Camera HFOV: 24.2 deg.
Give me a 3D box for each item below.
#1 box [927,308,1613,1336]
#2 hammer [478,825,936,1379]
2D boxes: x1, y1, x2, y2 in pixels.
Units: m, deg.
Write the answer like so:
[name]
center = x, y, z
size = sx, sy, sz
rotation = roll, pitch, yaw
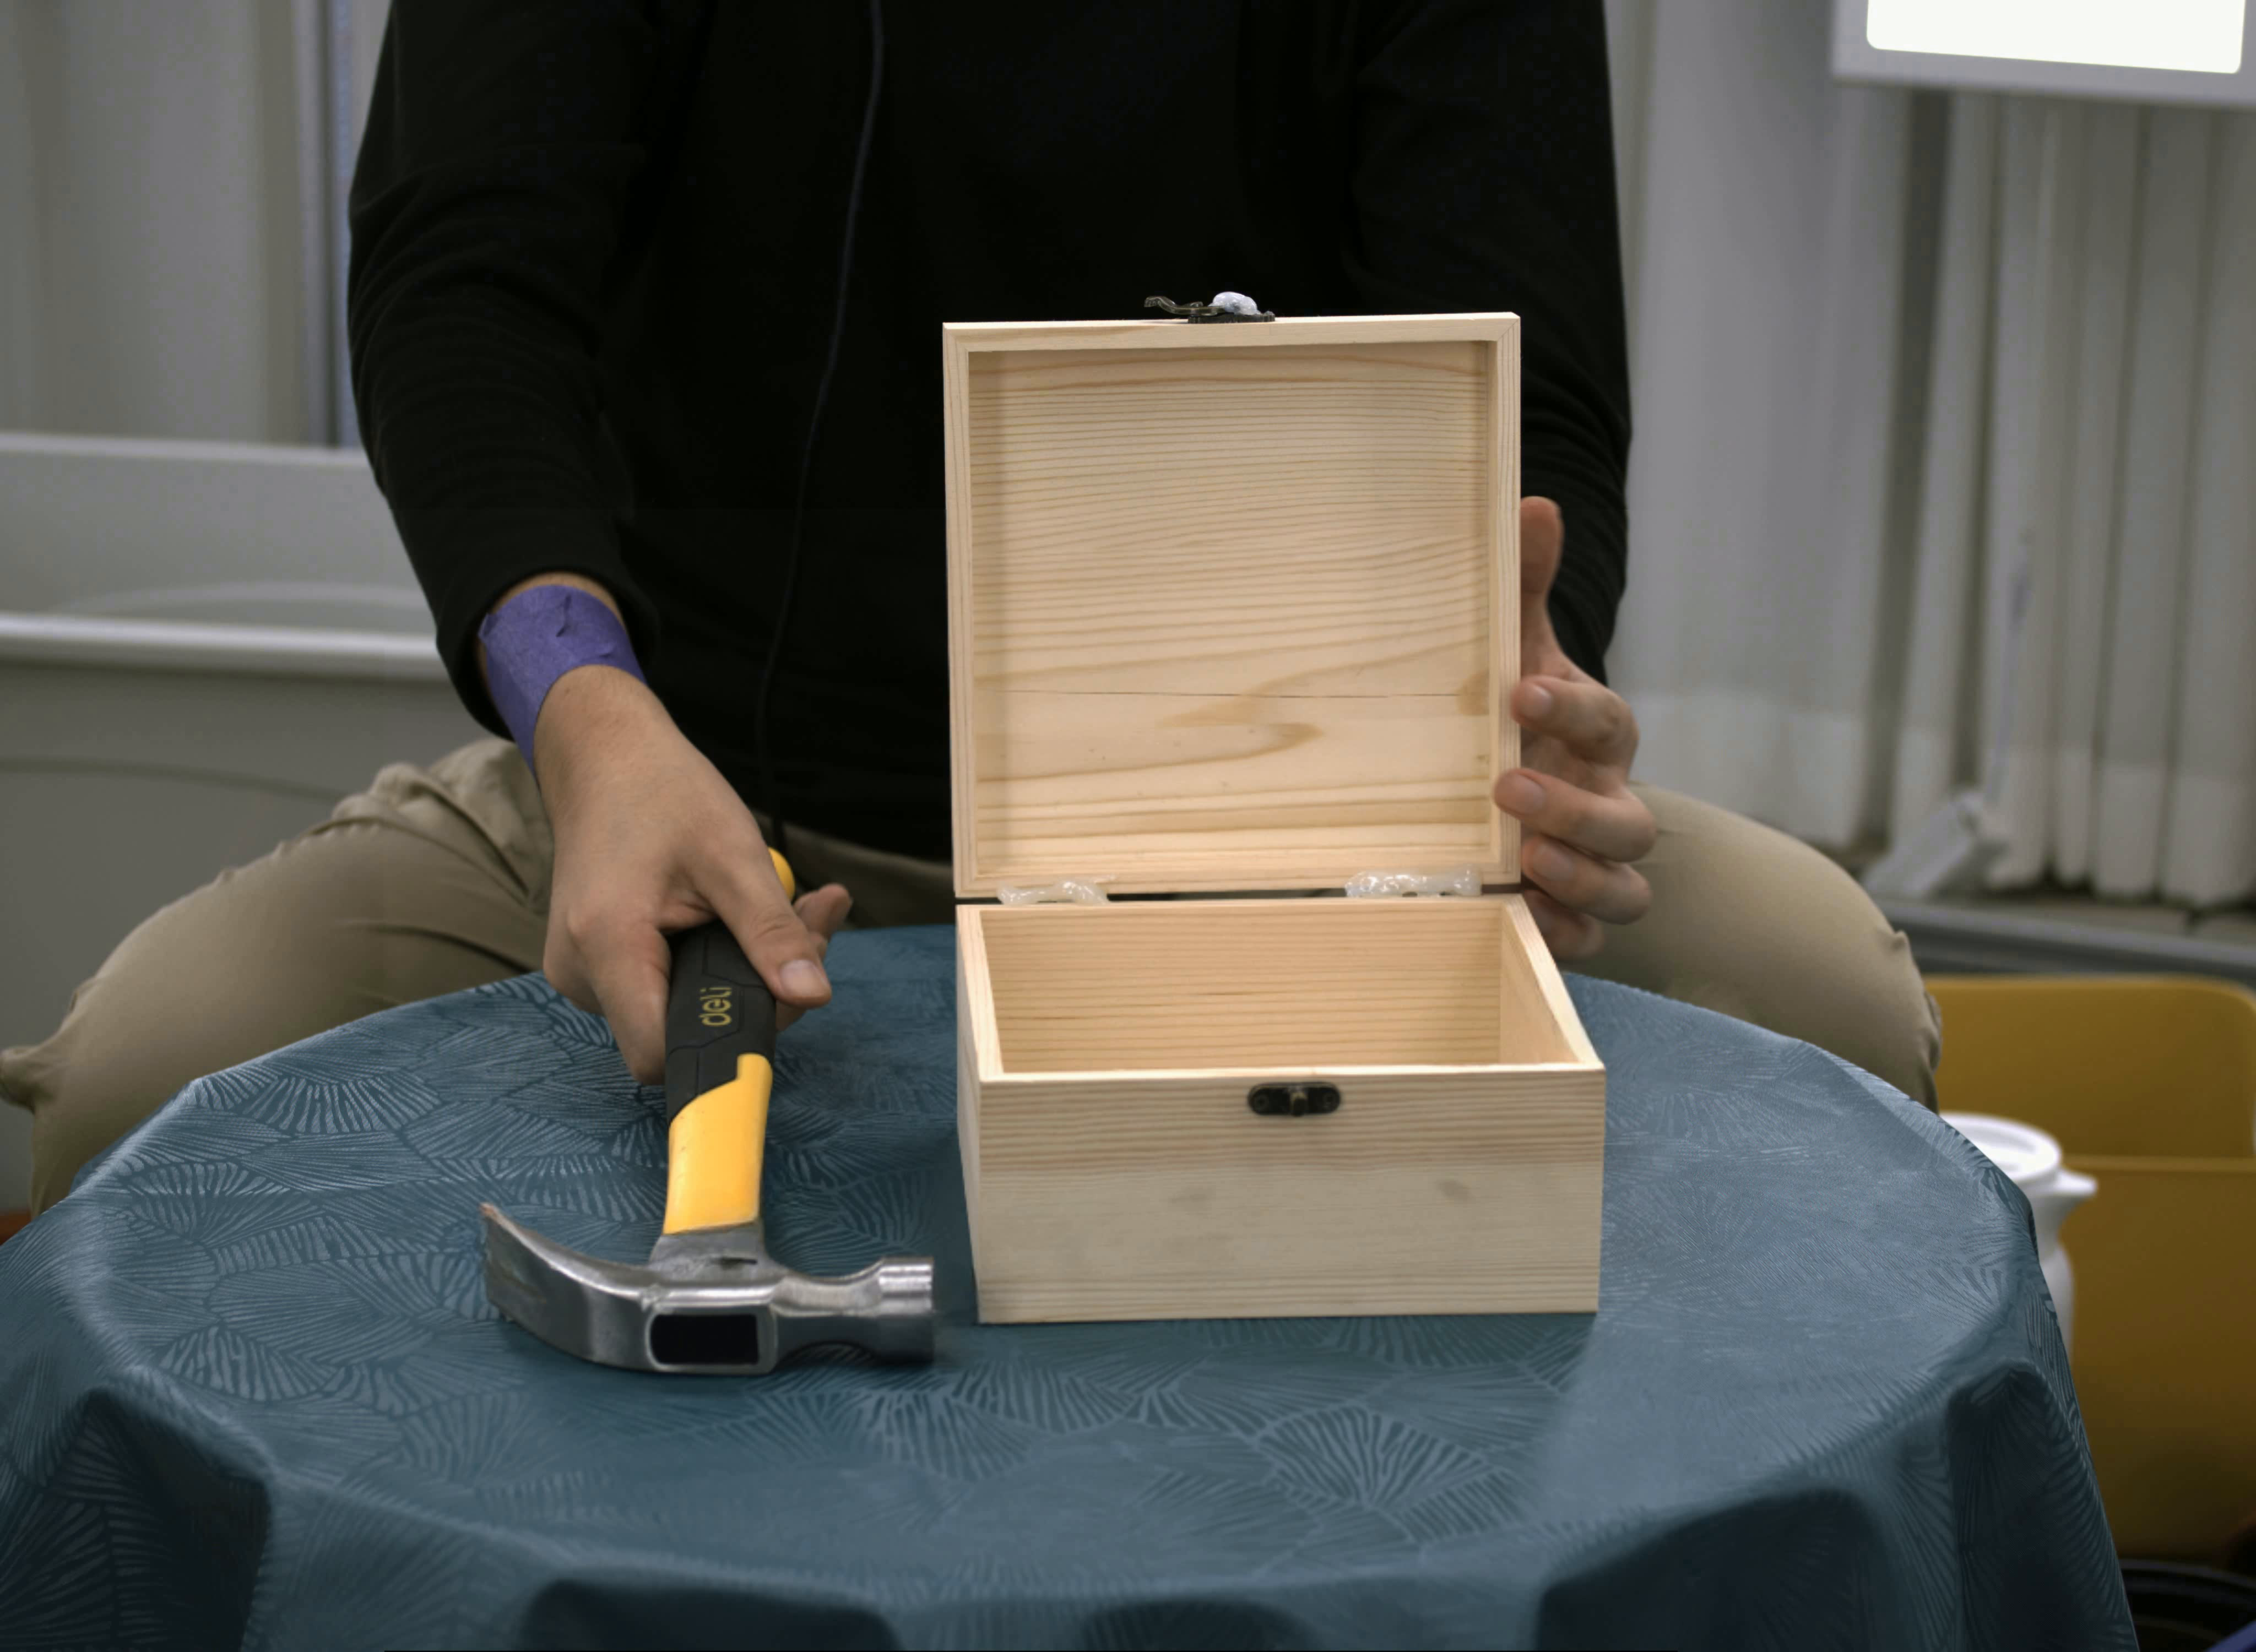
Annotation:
[box]
center = 0.039, -0.010, 1.599
size = 0.181, 0.255, 0.263
rotation = -3, 16, -4
[hammer]
center = -0.125, 0.076, 1.616
size = 0.131, 0.032, 0.336
rotation = -1, 24, -2
